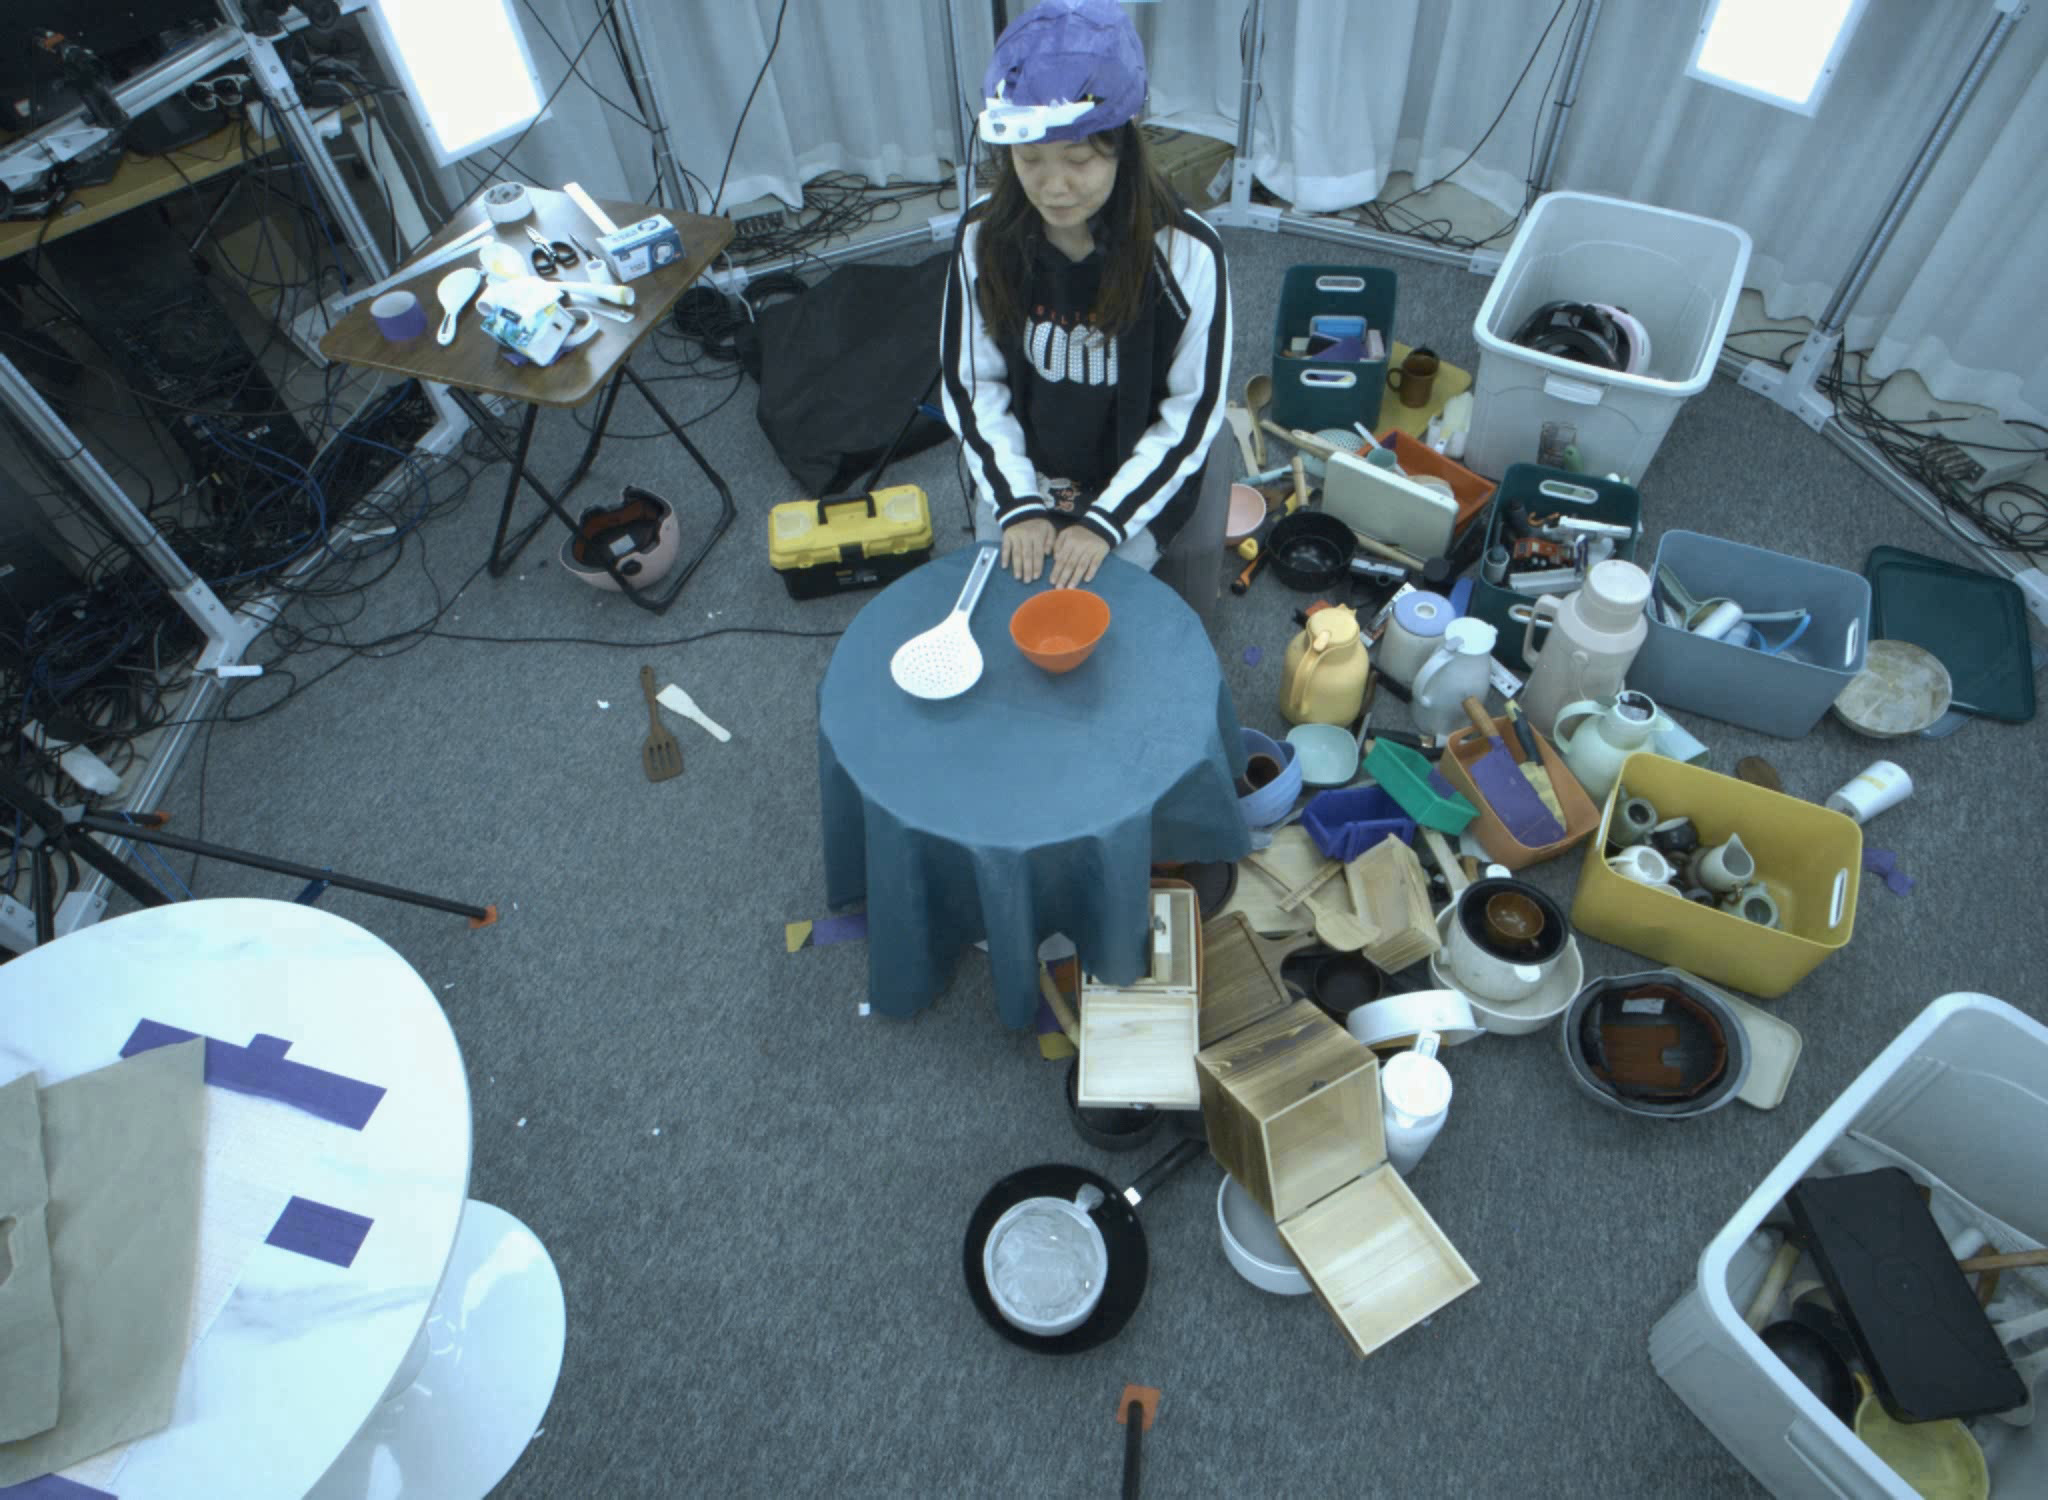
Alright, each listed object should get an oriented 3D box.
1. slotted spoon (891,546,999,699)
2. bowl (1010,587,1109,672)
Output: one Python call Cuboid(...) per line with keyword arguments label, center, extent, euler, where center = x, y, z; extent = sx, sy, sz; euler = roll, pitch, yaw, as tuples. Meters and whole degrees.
Cuboid(label="slotted spoon", center=(-0.103, -0.202, 1.907), extent=(0.135, 0.046, 0.348), euler=(13, 56, 9))
Cuboid(label="bowl", center=(0.055, -0.167, 1.842), extent=(0.147, 0.106, 0.146), euler=(-2, 56, 4))
